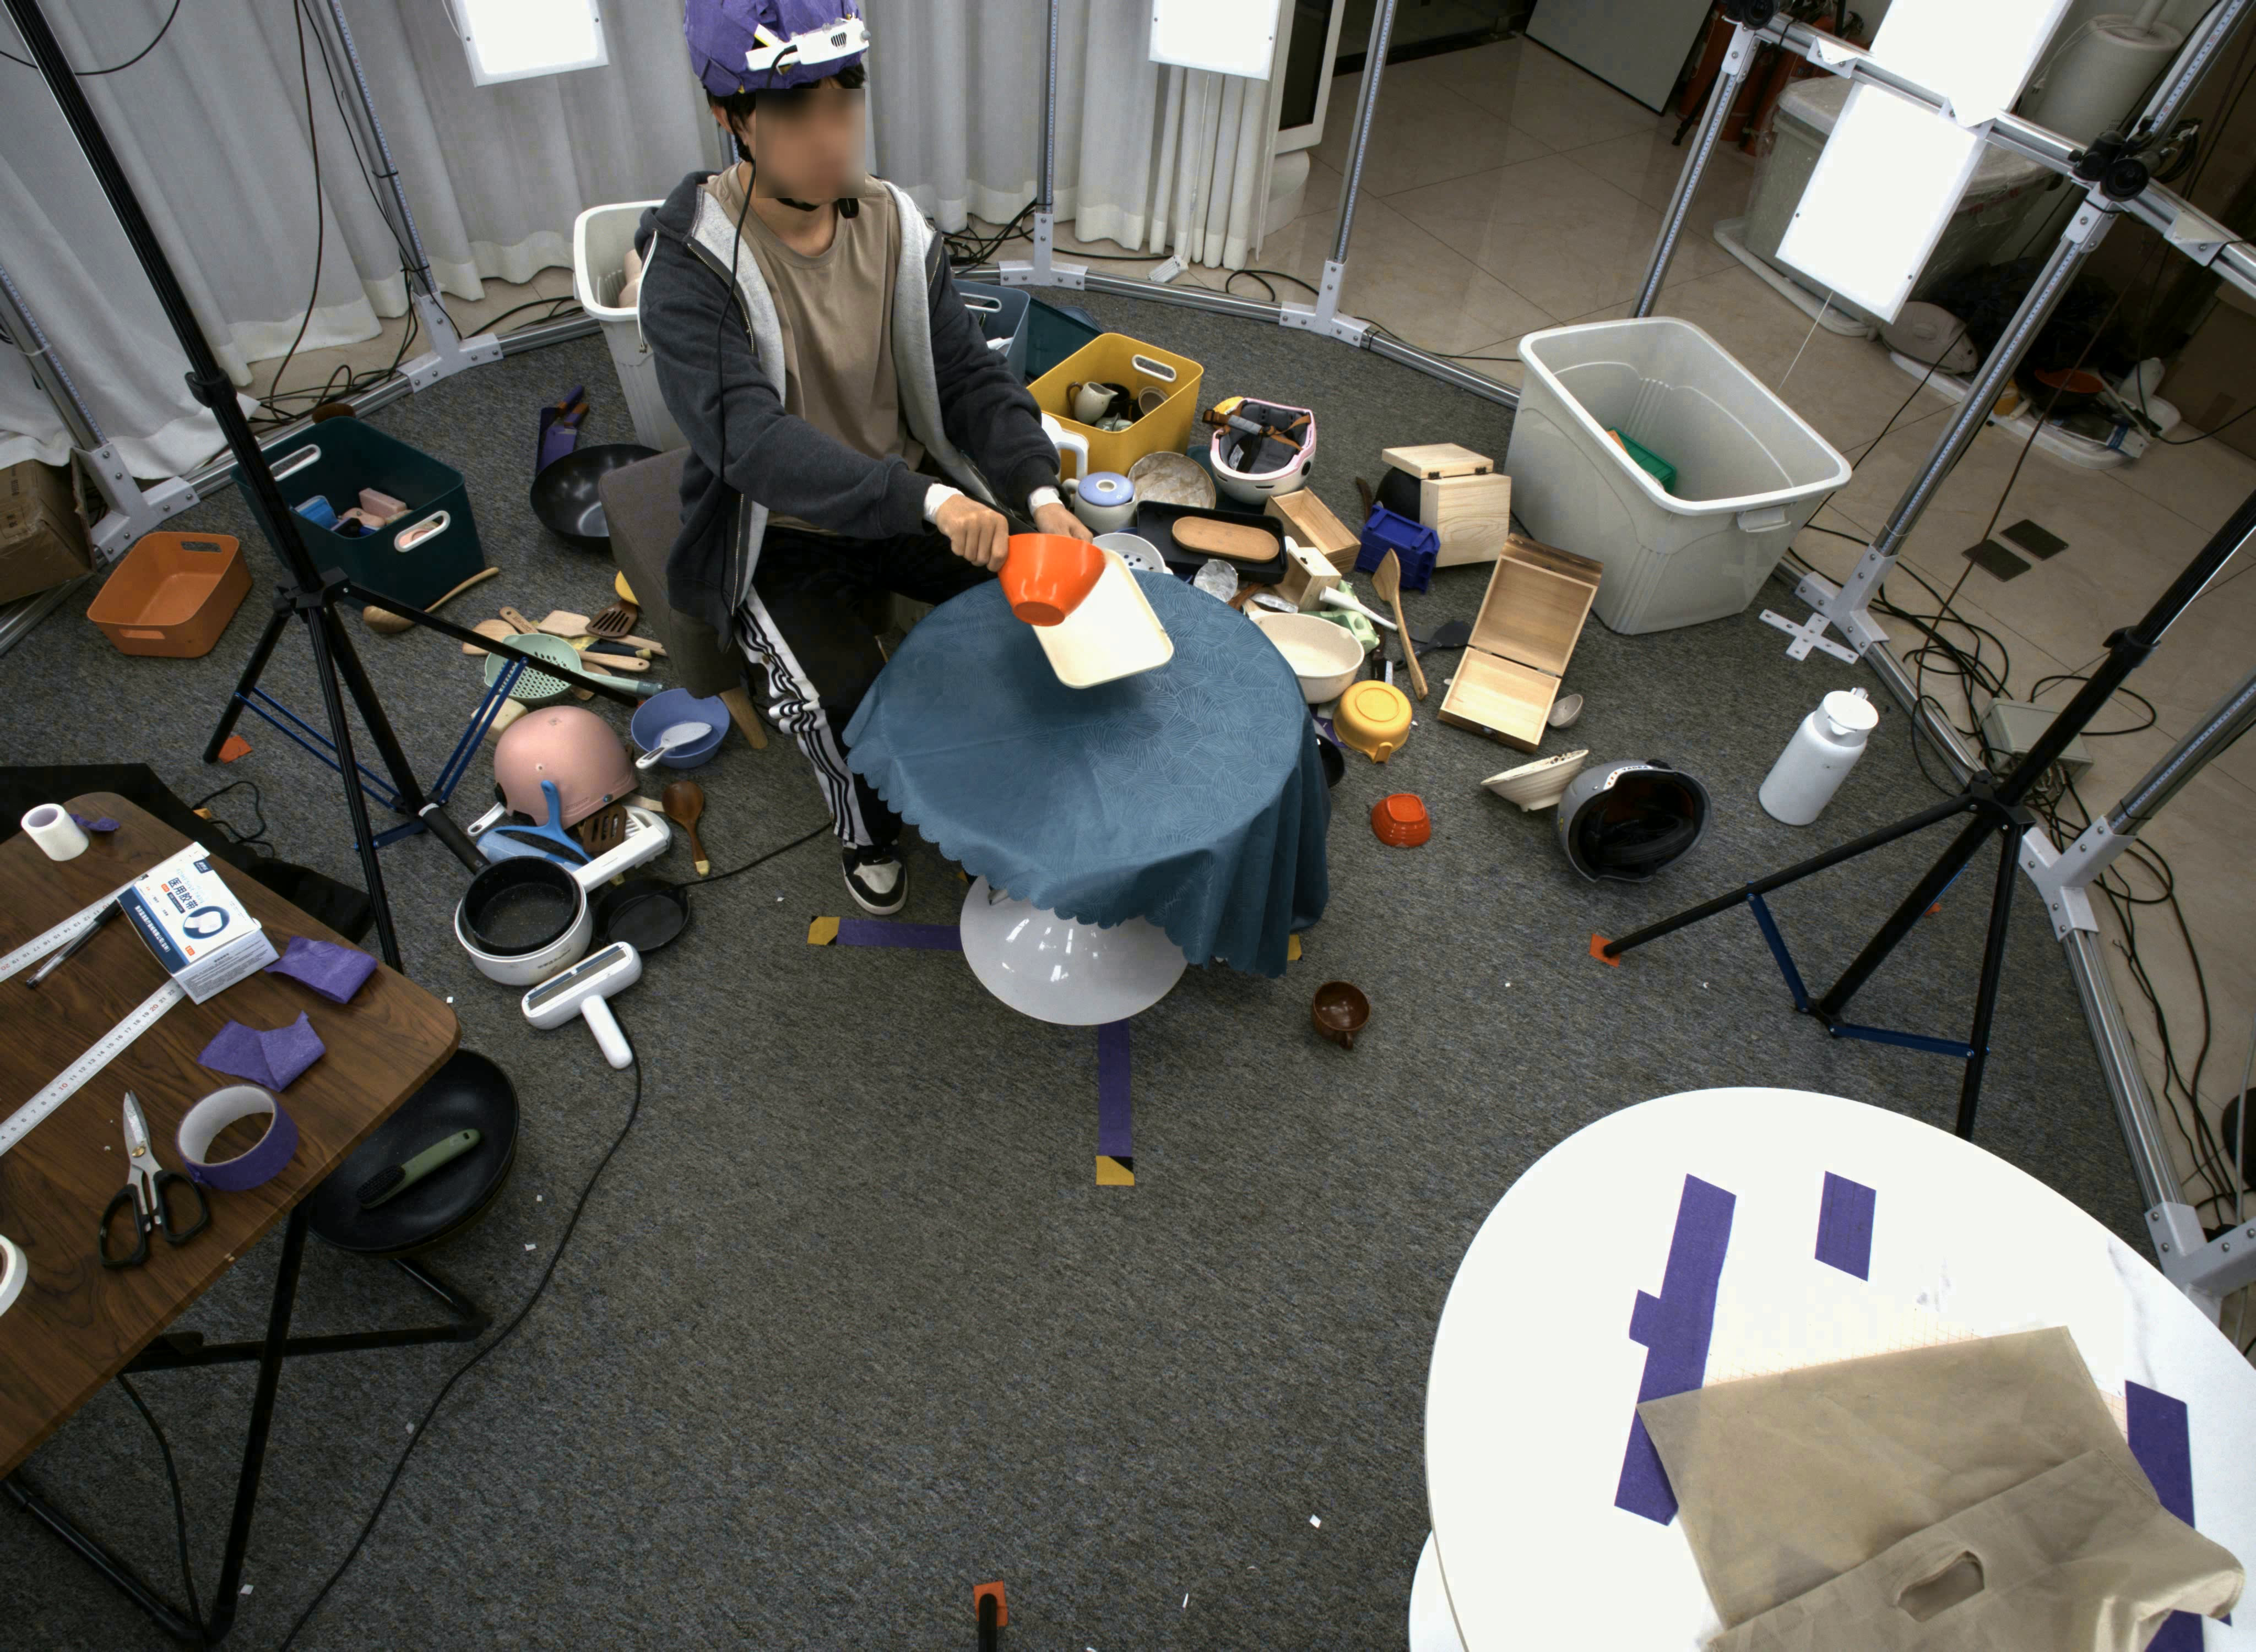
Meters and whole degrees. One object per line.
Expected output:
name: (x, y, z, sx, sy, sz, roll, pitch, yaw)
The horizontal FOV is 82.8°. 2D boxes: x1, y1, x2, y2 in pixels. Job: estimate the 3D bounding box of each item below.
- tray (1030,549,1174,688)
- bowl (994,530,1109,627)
tray: (-0.051, -0.293, 1.805, 0.171, 0.017, 0.245, -17, 56, -14)
bowl: (-0.104, -0.309, 1.637, 0.148, 0.145, 0.106, 9, 69, 3)
